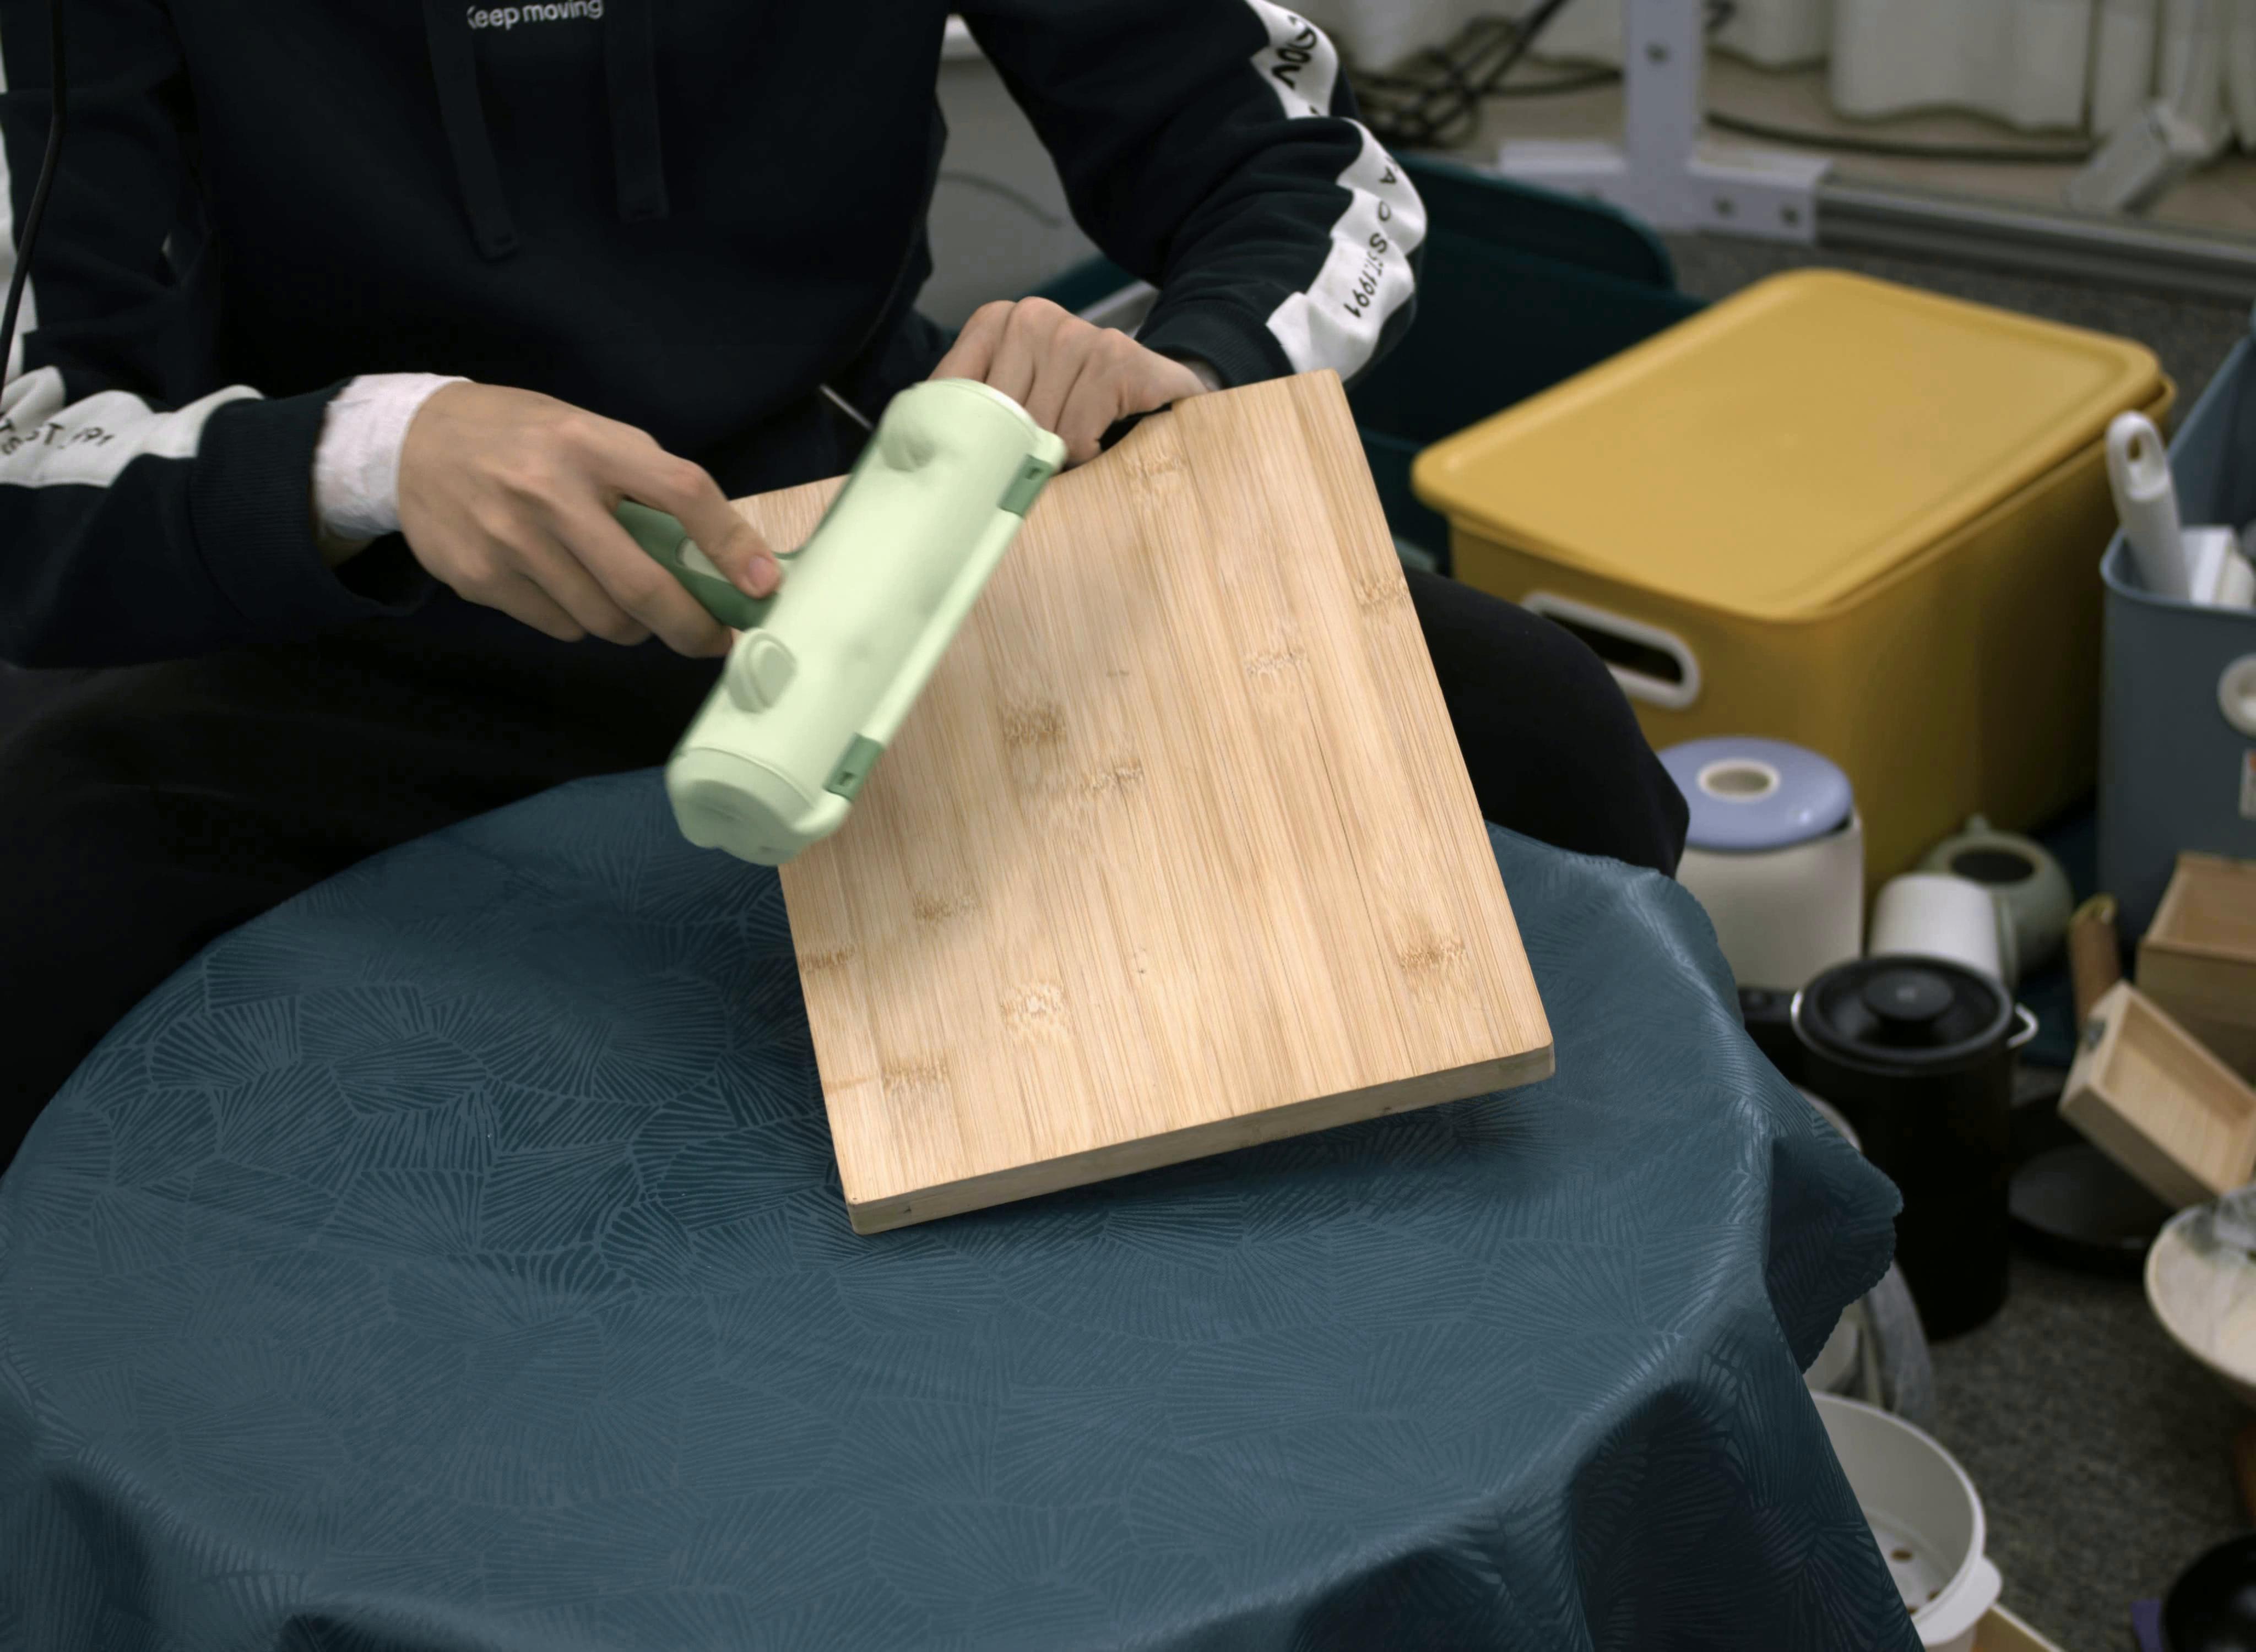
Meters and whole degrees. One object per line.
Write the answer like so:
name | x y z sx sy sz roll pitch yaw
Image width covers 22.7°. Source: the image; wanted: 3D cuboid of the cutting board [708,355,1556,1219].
cutting board | -0.006 -0.020 1.967 0.250 0.023 0.354 -12 47 -4

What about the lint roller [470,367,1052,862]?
lint roller | -0.146 -0.097 1.926 0.183 0.081 0.202 21 55 13
